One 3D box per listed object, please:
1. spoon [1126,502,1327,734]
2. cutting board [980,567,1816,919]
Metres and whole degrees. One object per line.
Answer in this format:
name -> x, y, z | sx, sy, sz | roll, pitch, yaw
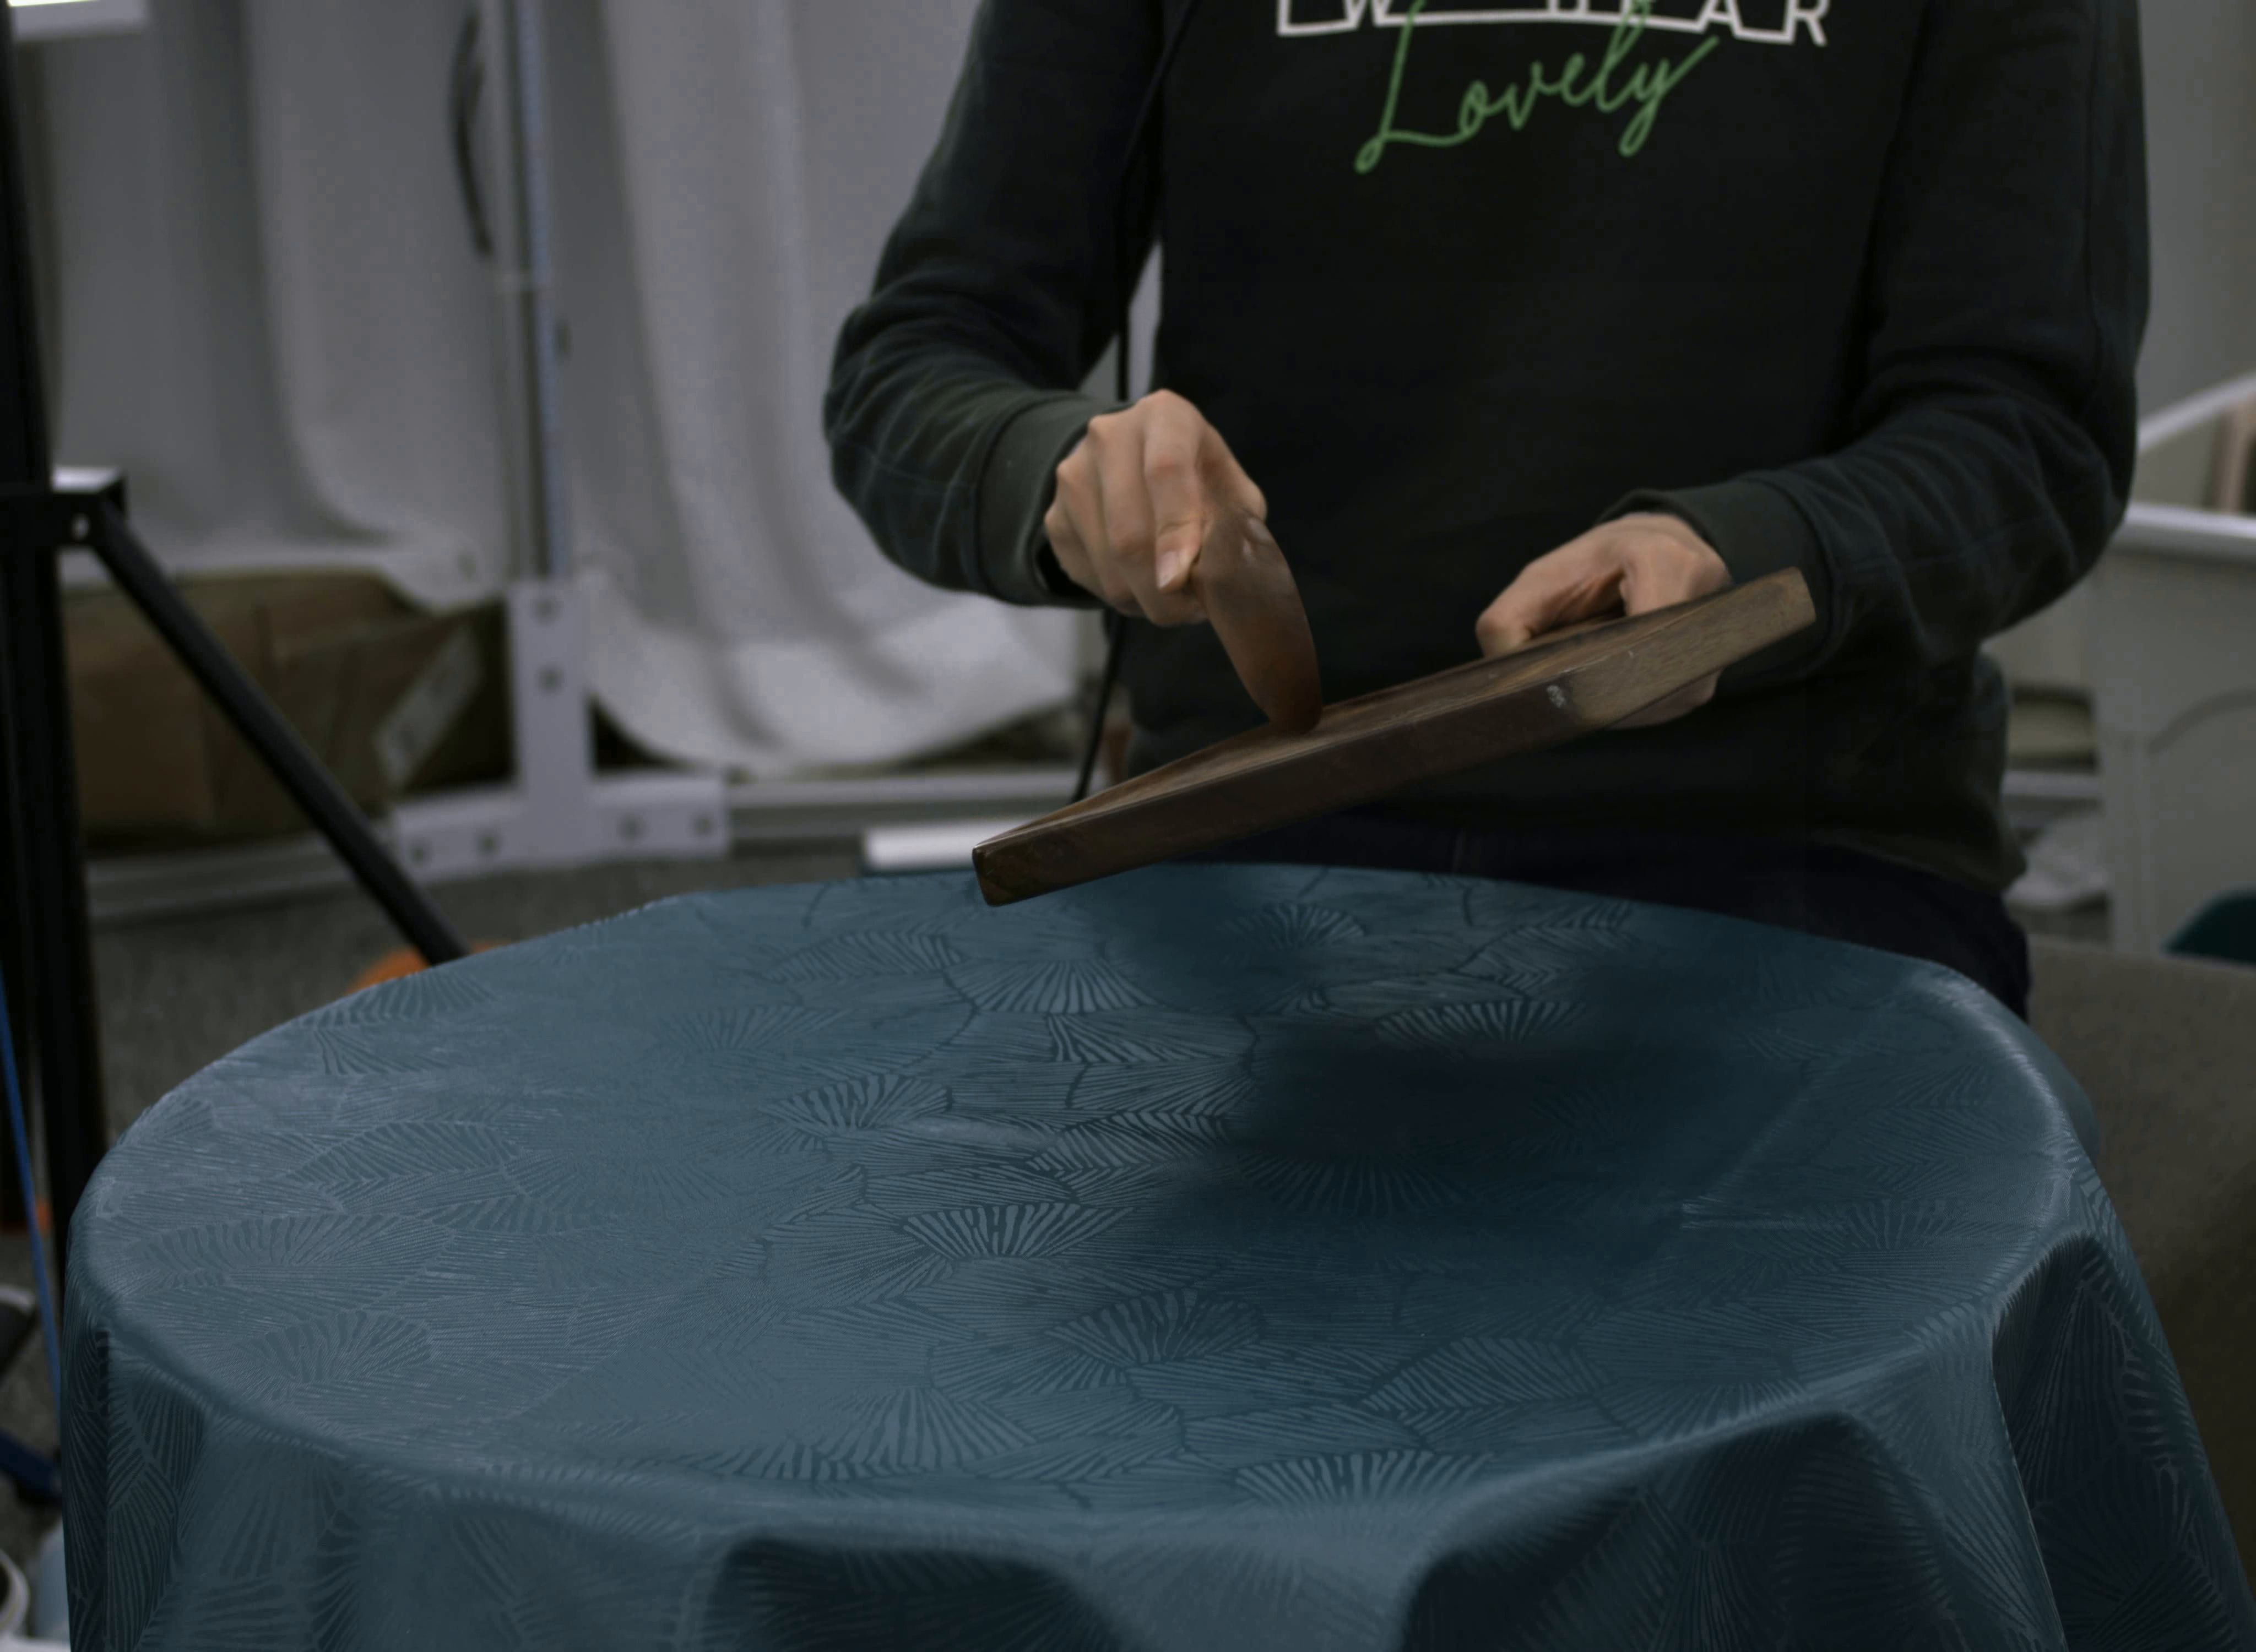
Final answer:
spoon -> 0.028, -0.076, 1.728 | 0.017, 0.075, 0.218 | -21, 16, -7
cutting board -> 0.102, -0.034, 1.621 | 0.203, 0.023, 0.347 | -18, 2, 23
